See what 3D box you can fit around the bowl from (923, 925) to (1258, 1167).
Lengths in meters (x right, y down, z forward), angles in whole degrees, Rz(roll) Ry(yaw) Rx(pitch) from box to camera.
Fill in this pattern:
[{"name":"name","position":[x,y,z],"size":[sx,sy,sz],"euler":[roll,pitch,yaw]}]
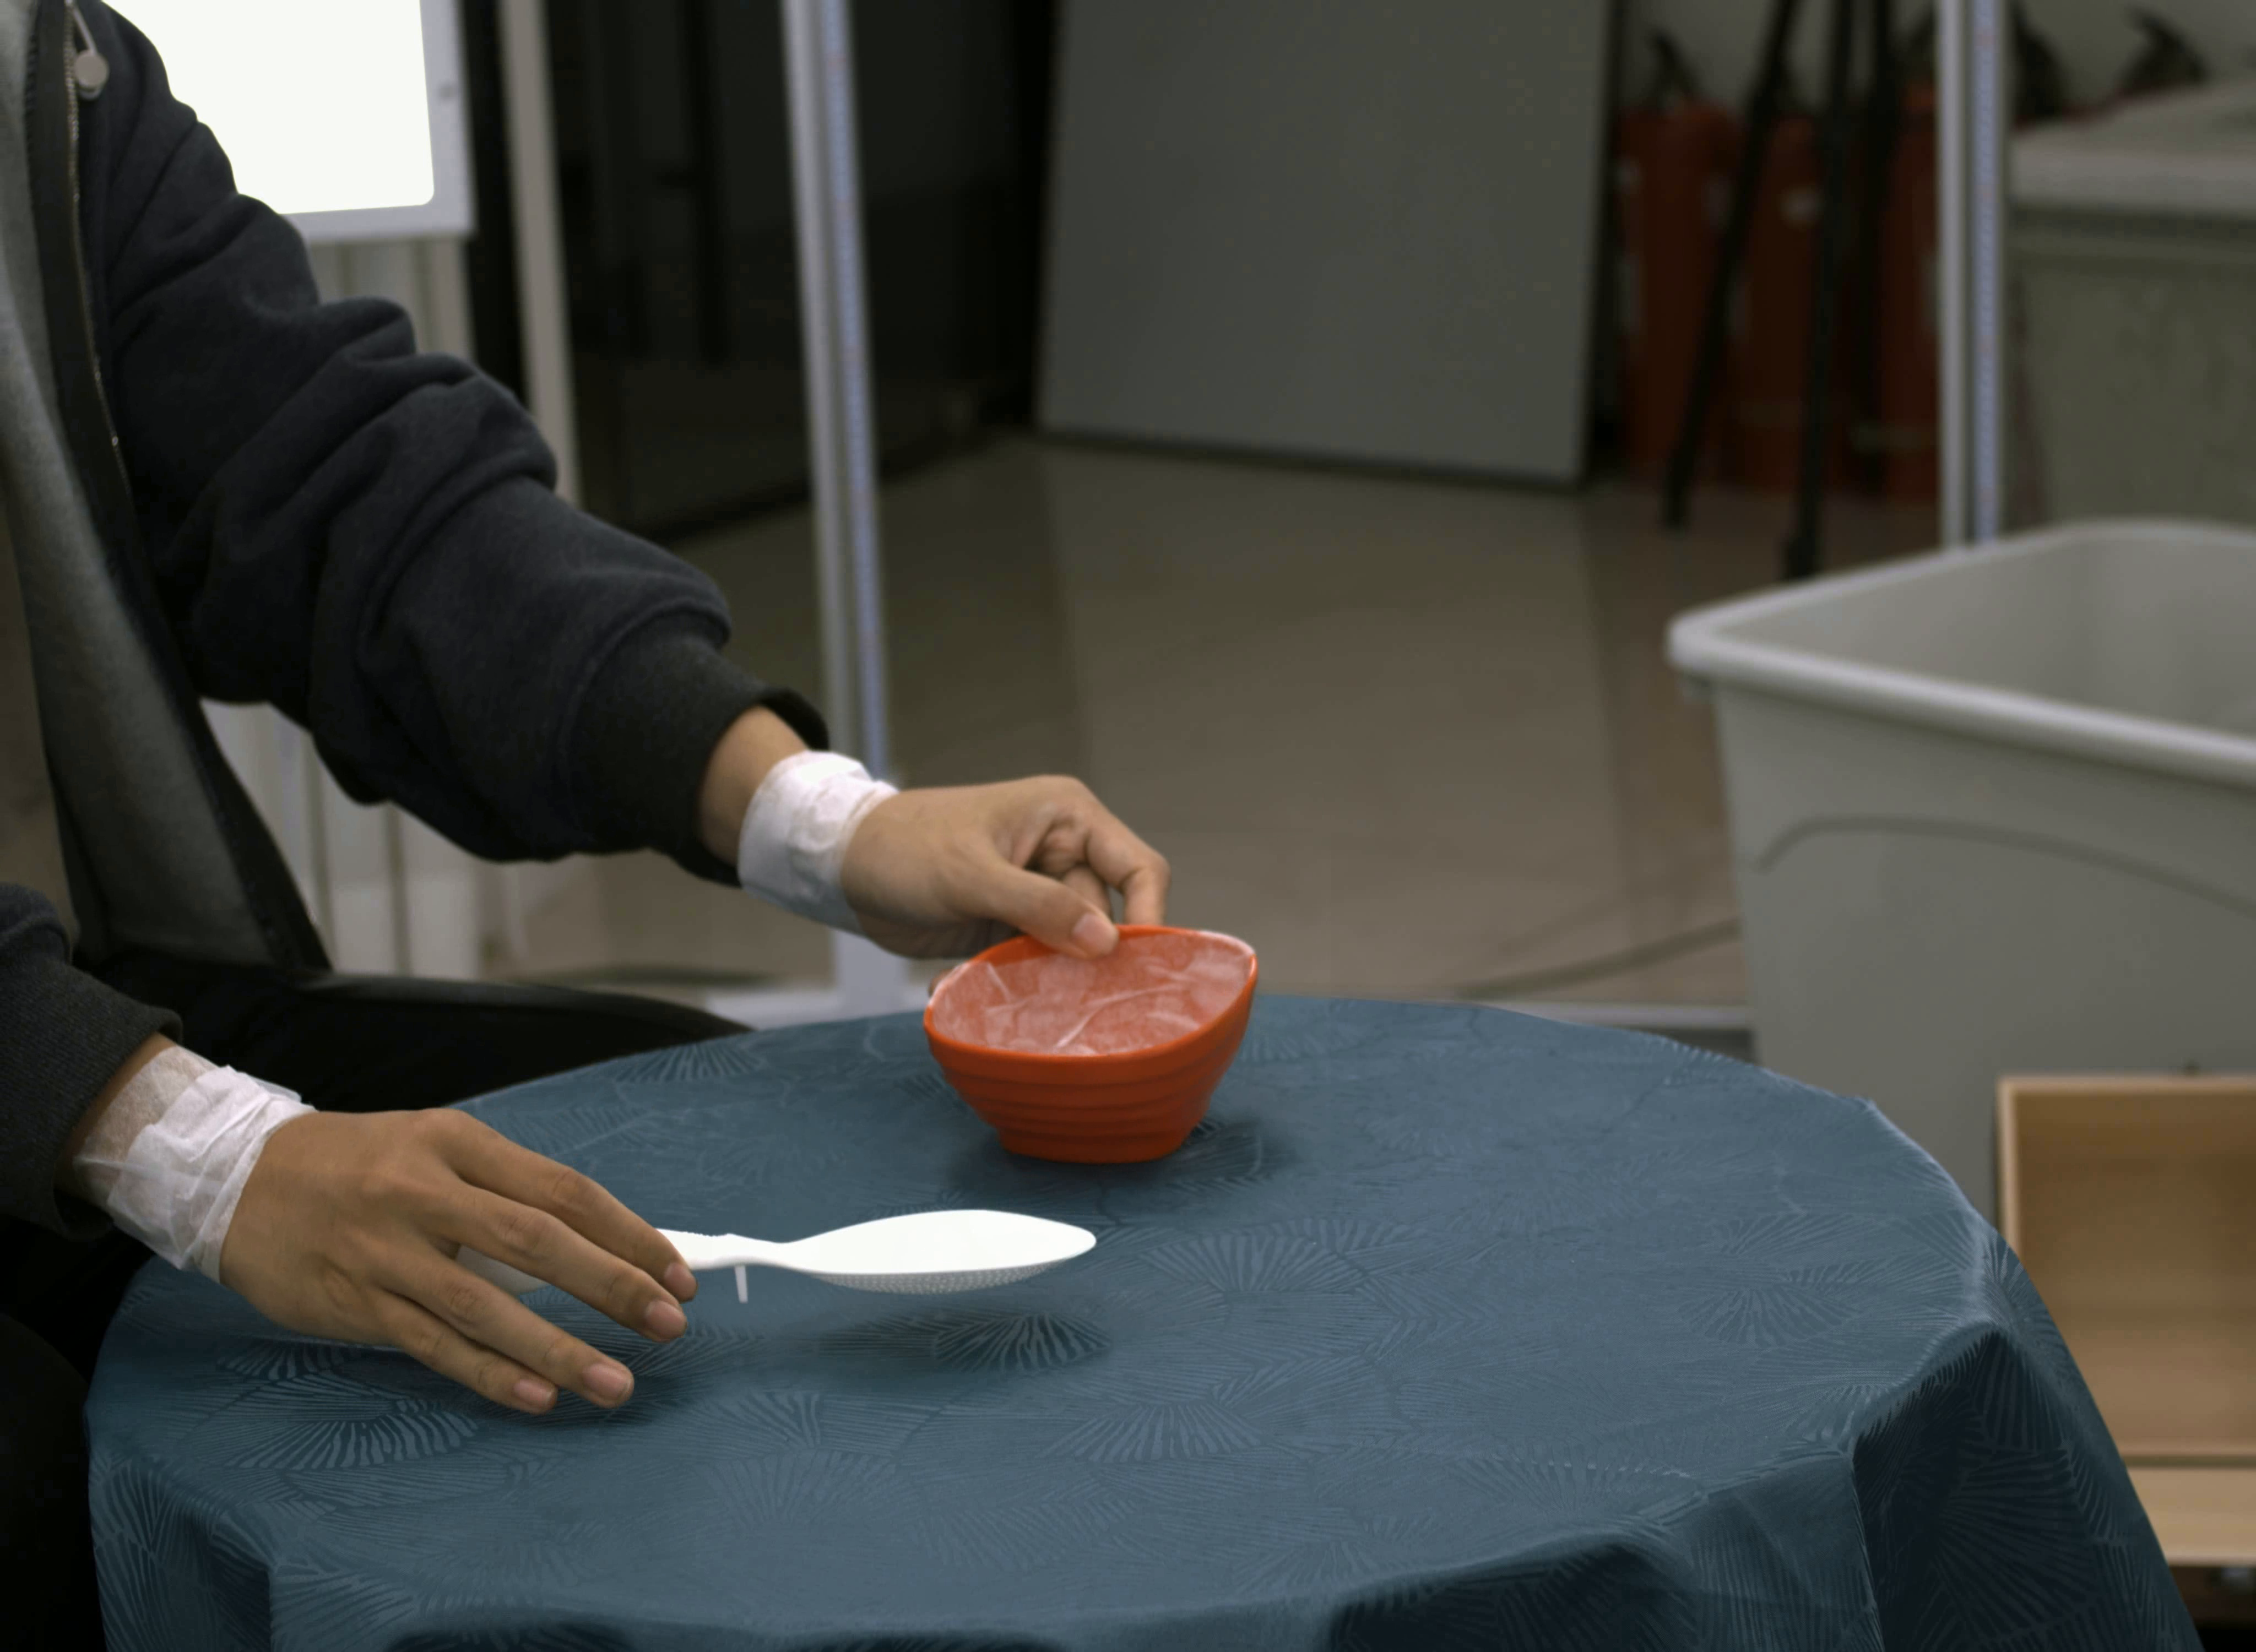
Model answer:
[{"name":"bowl","position":[-0.010,0.078,1.821],"size":[0.117,0.052,0.119],"euler":[-6,21,1]}]

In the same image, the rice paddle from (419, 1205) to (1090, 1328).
[{"name":"rice paddle","position":[-0.112,0.129,1.640],"size":[0.202,0.030,0.069],"euler":[-4,12,0]}]
